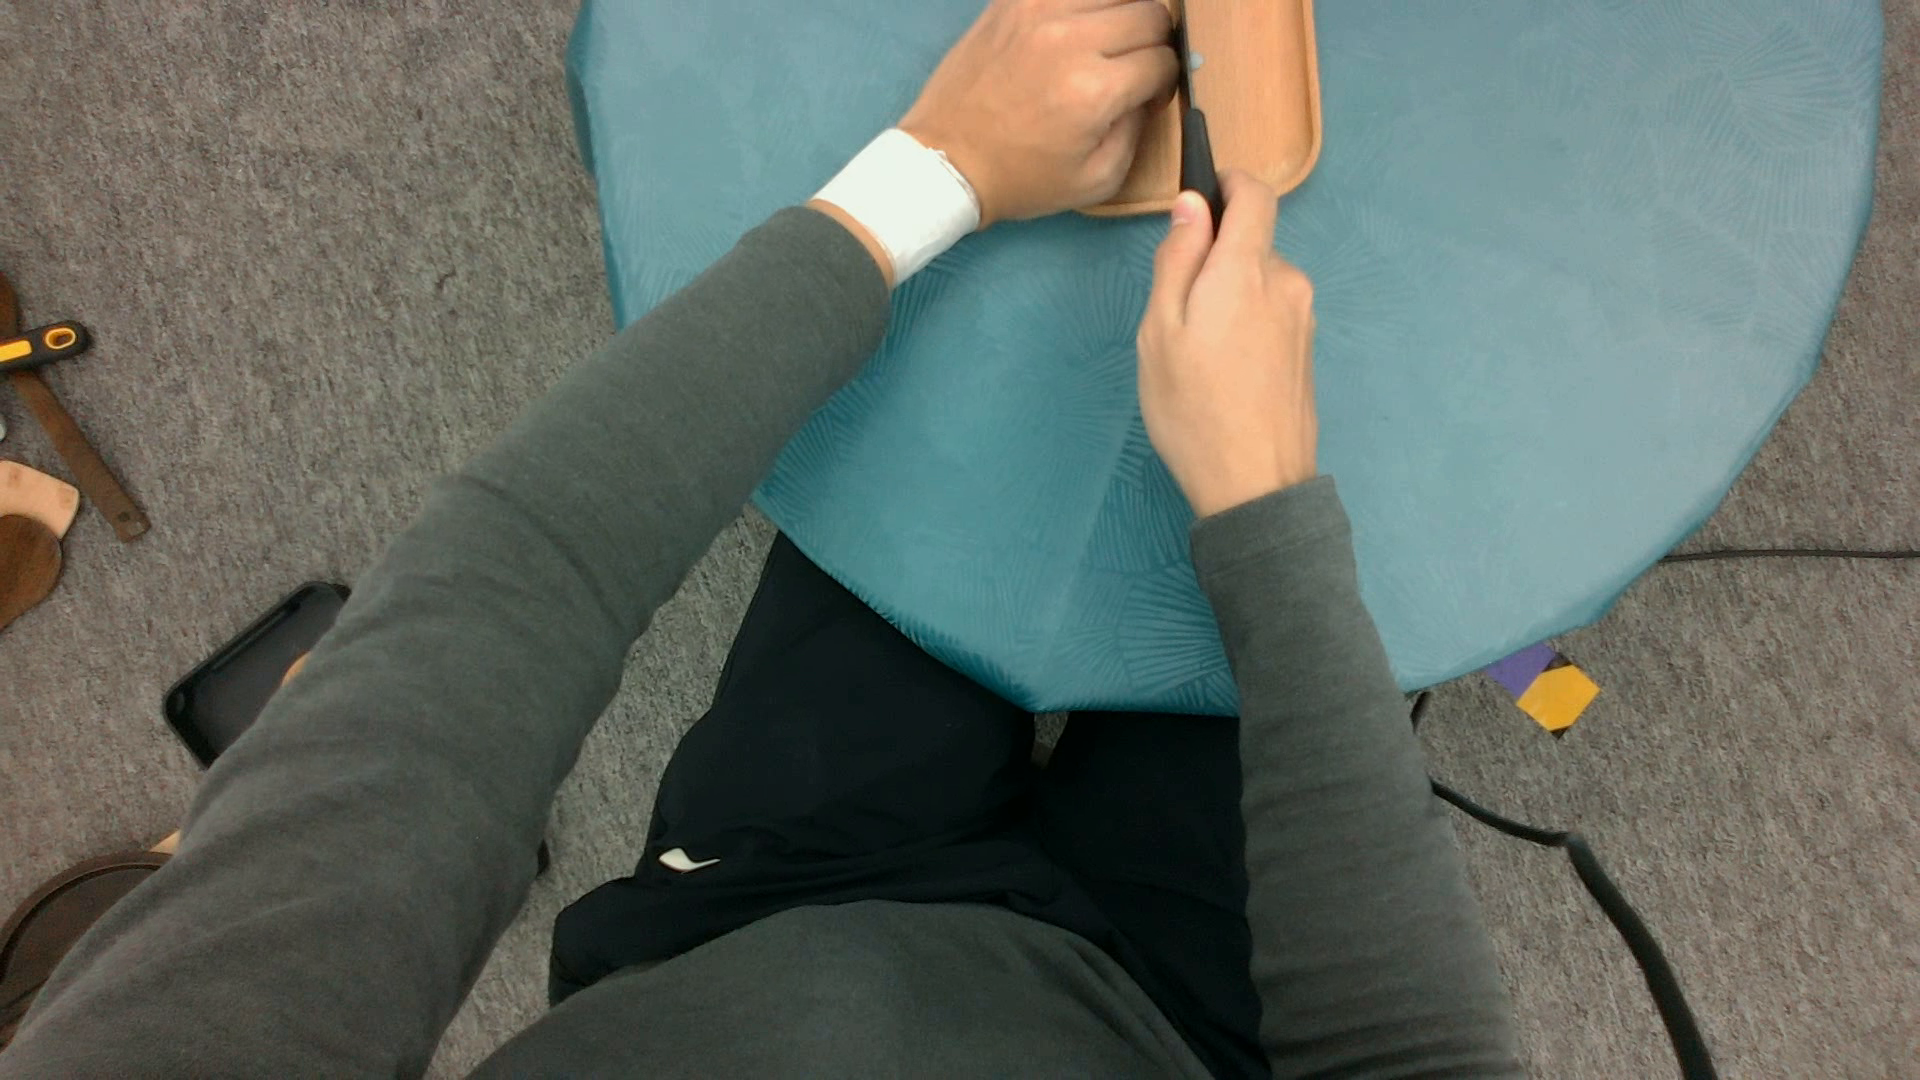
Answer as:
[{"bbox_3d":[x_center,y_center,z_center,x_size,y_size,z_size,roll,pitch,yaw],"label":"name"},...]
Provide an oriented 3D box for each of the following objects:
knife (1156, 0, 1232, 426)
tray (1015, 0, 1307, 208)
[{"bbox_3d":[0.091,-0.199,0.591,0.021,0.081,0.302,-6,85,7],"label":"knife"},{"bbox_3d":[0.087,-0.280,0.634,0.130,0.023,0.250,-4,91,2],"label":"tray"}]
